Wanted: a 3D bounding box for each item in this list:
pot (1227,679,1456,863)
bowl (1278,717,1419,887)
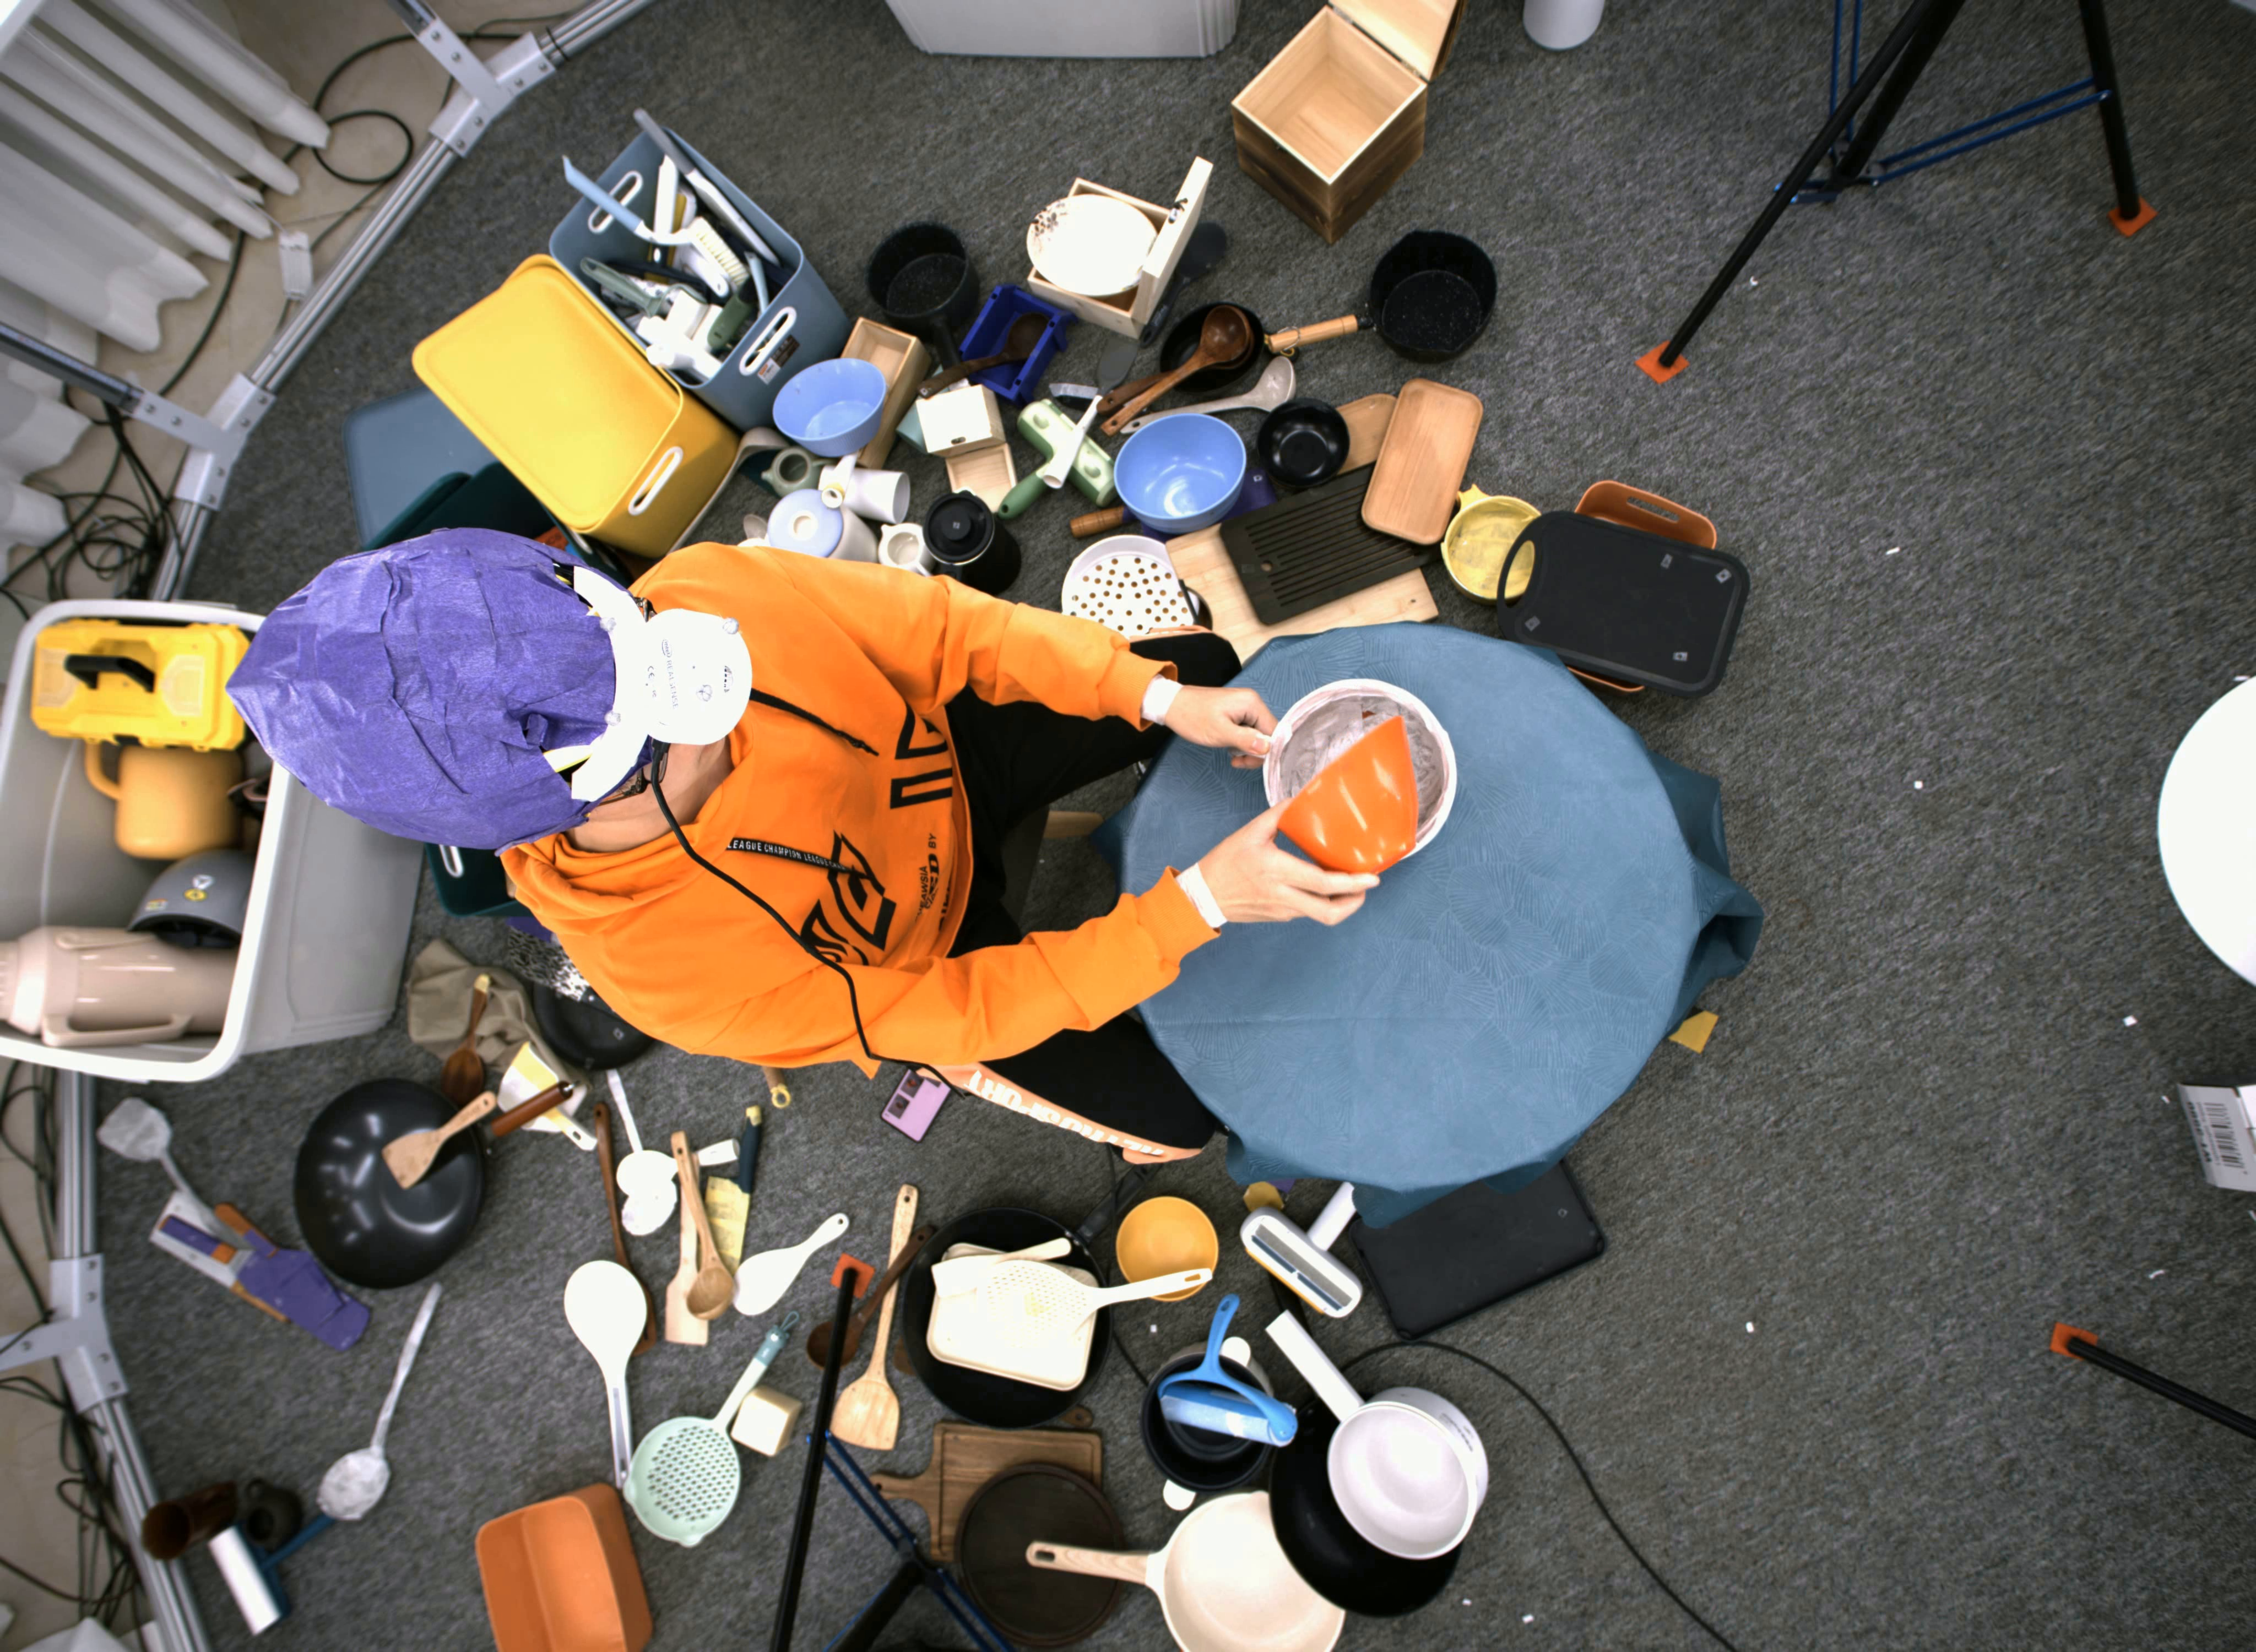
[{"bbox_3d":[0.204,-0.056,1.352,0.234,0.136,0.179,16,95,15],"label":"pot"},{"bbox_3d":[0.212,-0.013,1.228,0.149,0.148,0.104,-33,76,6],"label":"bowl"}]
